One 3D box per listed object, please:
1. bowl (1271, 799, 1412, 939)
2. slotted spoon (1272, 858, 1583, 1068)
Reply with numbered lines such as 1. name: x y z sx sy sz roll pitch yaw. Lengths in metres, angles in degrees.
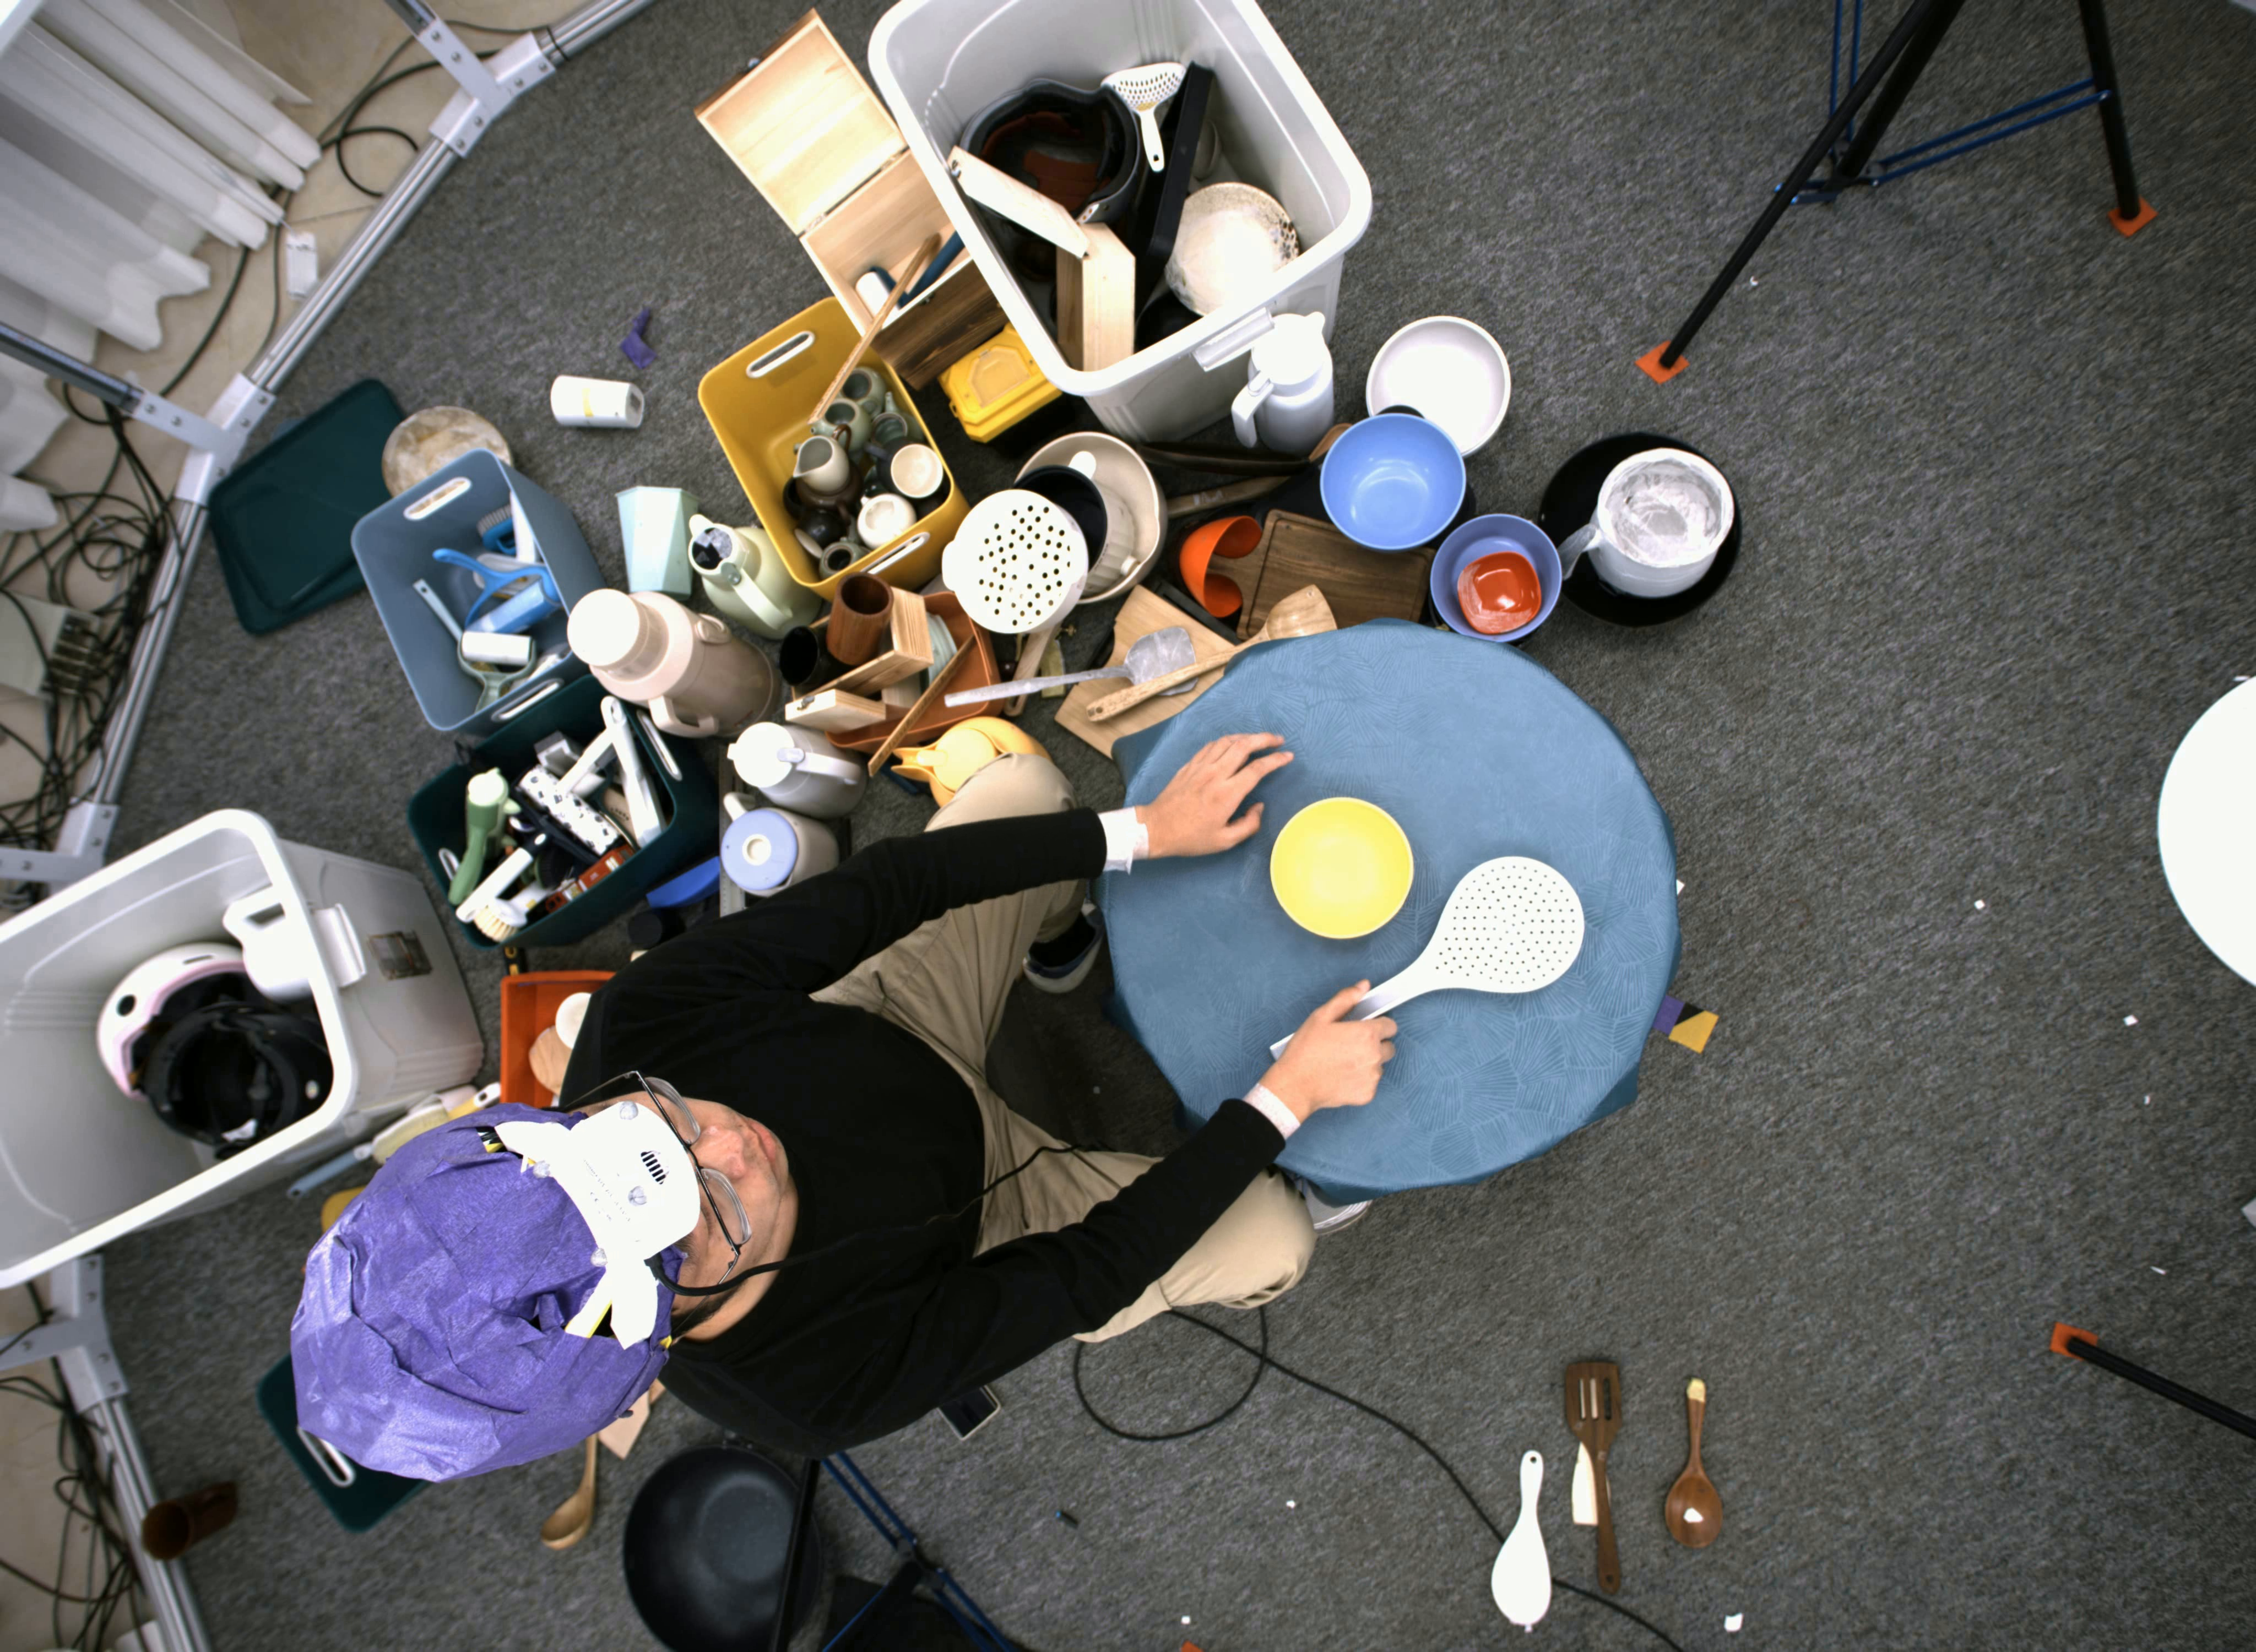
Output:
1. bowl: 0.222 0.047 1.442 0.146 0.060 0.144 -1 84 10
2. slotted spoon: 0.303 0.155 1.426 0.352 0.046 0.135 -31 80 8
